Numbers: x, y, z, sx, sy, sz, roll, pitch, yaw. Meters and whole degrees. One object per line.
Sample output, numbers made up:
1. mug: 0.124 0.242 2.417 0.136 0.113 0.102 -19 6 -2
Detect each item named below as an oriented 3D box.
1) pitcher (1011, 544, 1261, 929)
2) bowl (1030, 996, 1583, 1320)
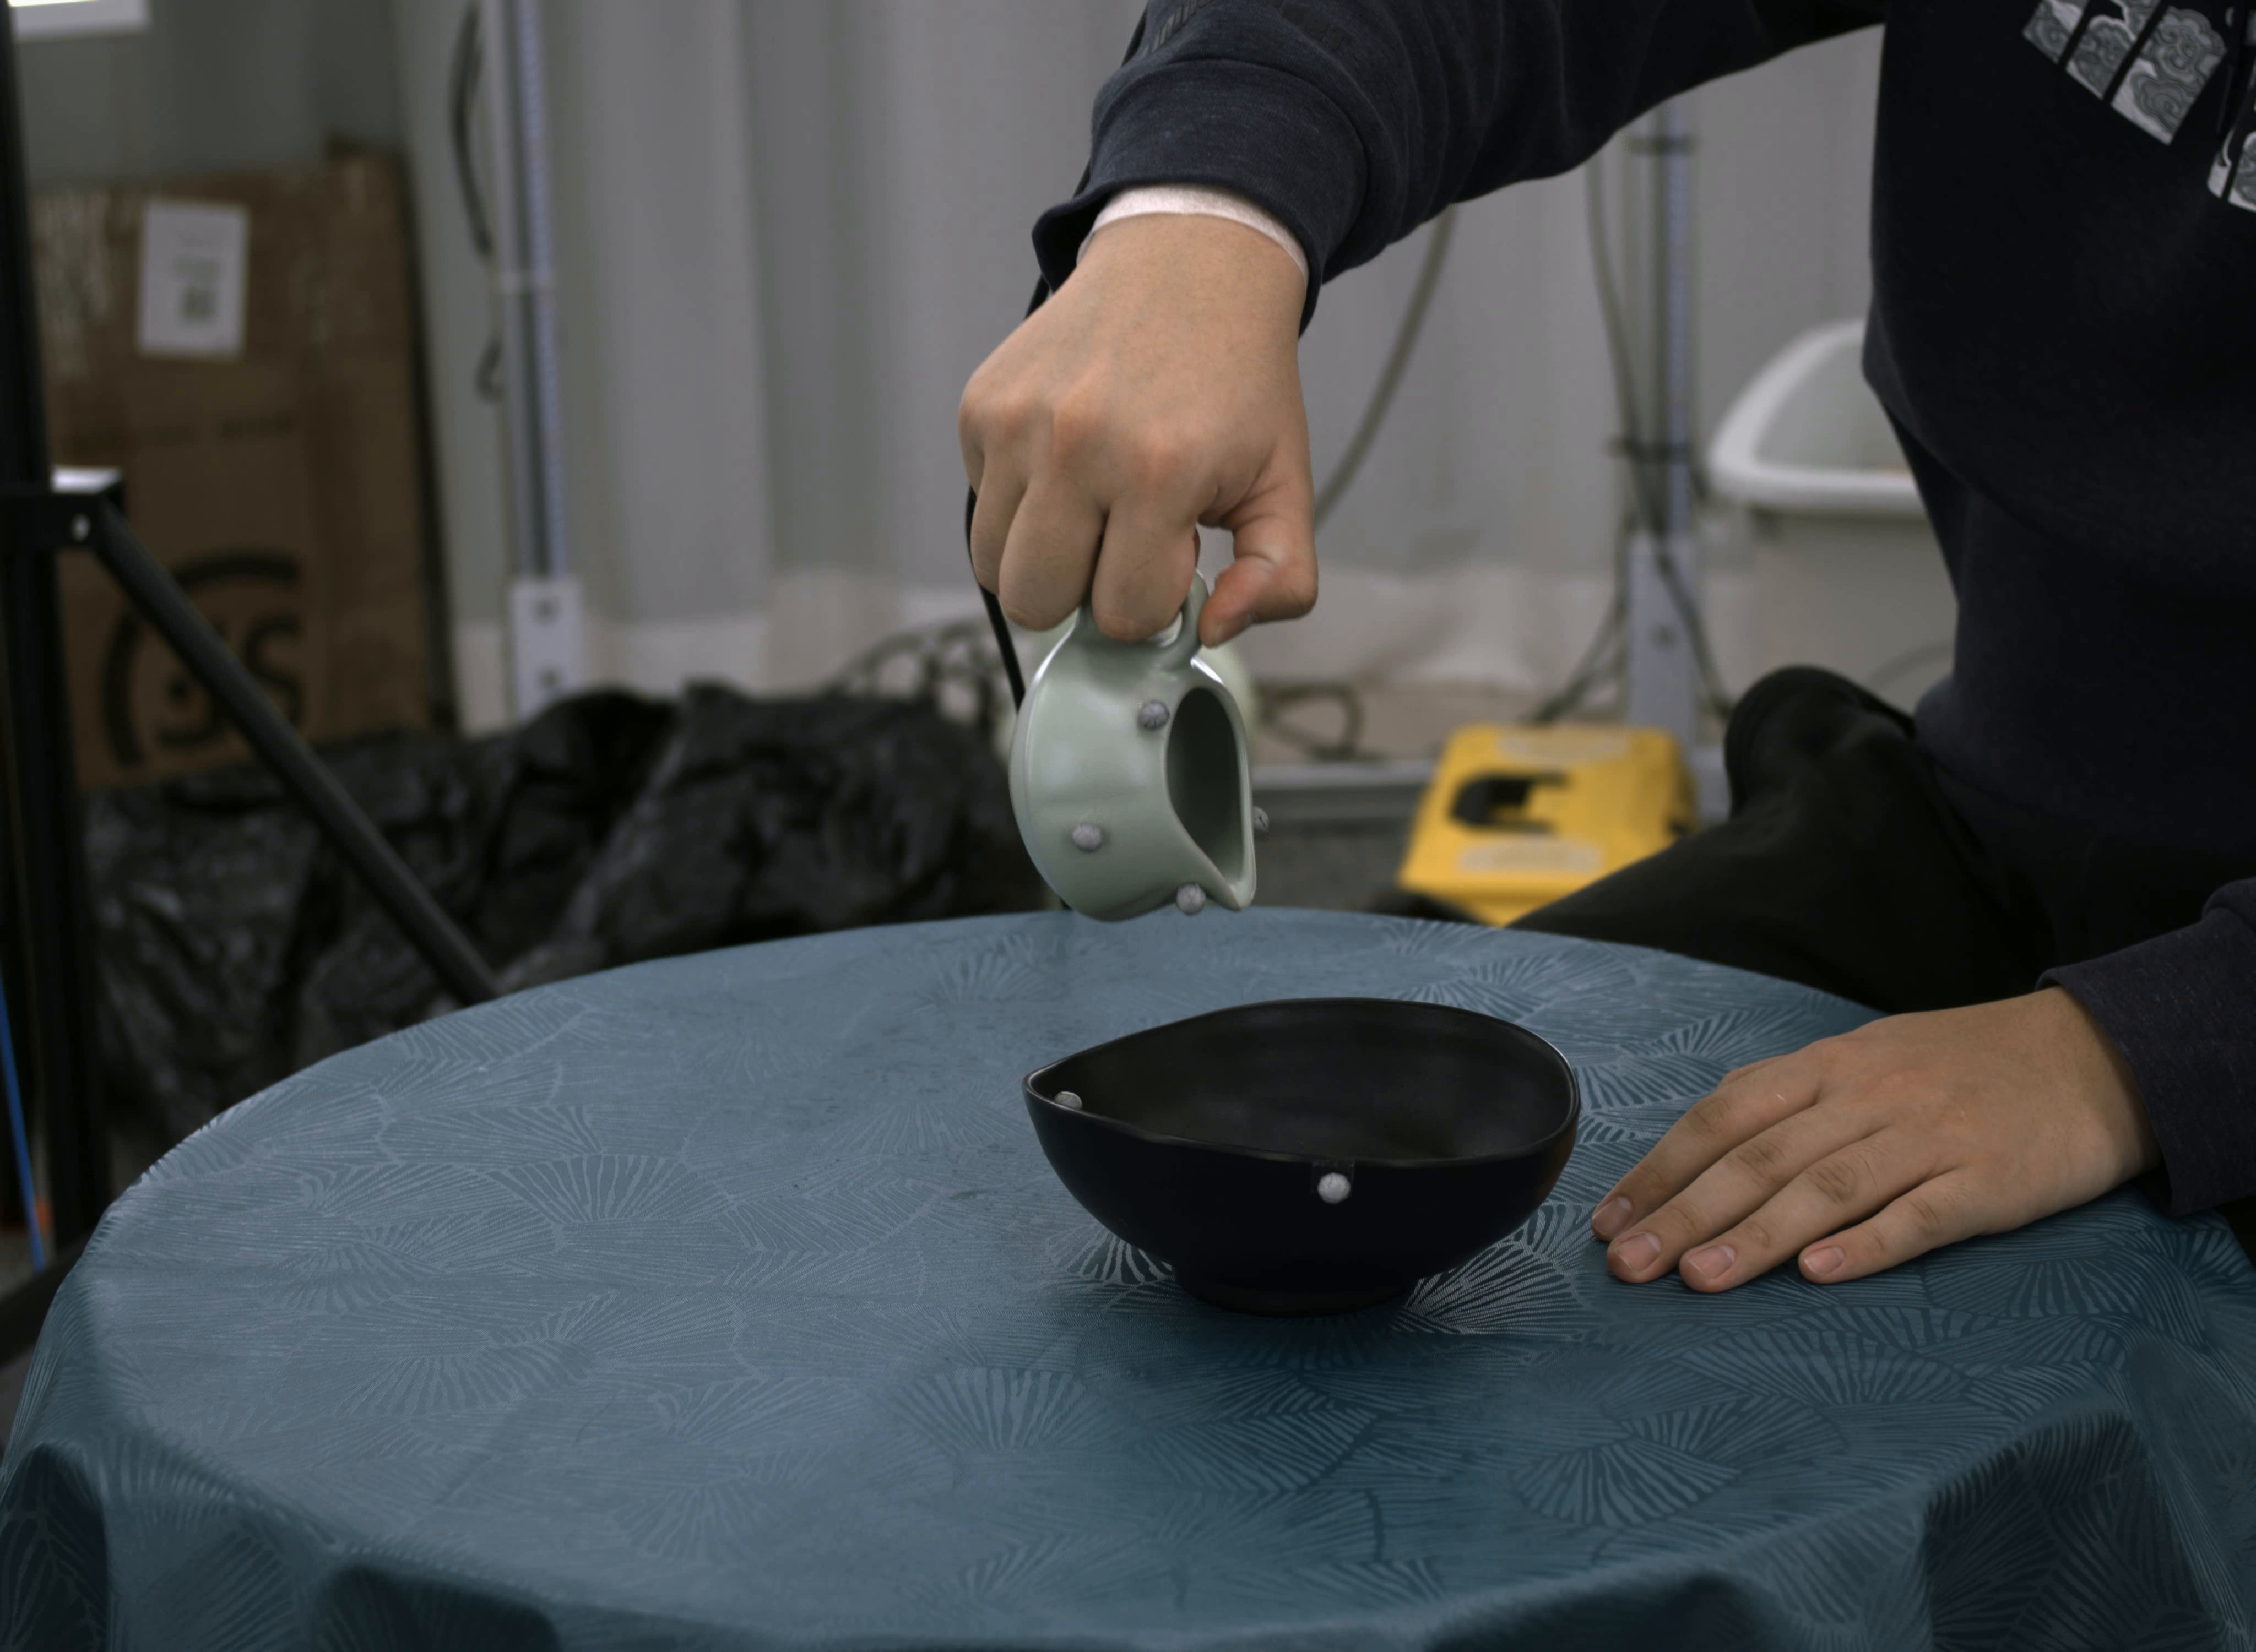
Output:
1. pitcher: 0.002 -0.025 1.474 0.061 0.107 0.085 -2 20 32
2. bowl: 0.048 0.097 1.475 0.174 0.067 0.134 10 19 41
